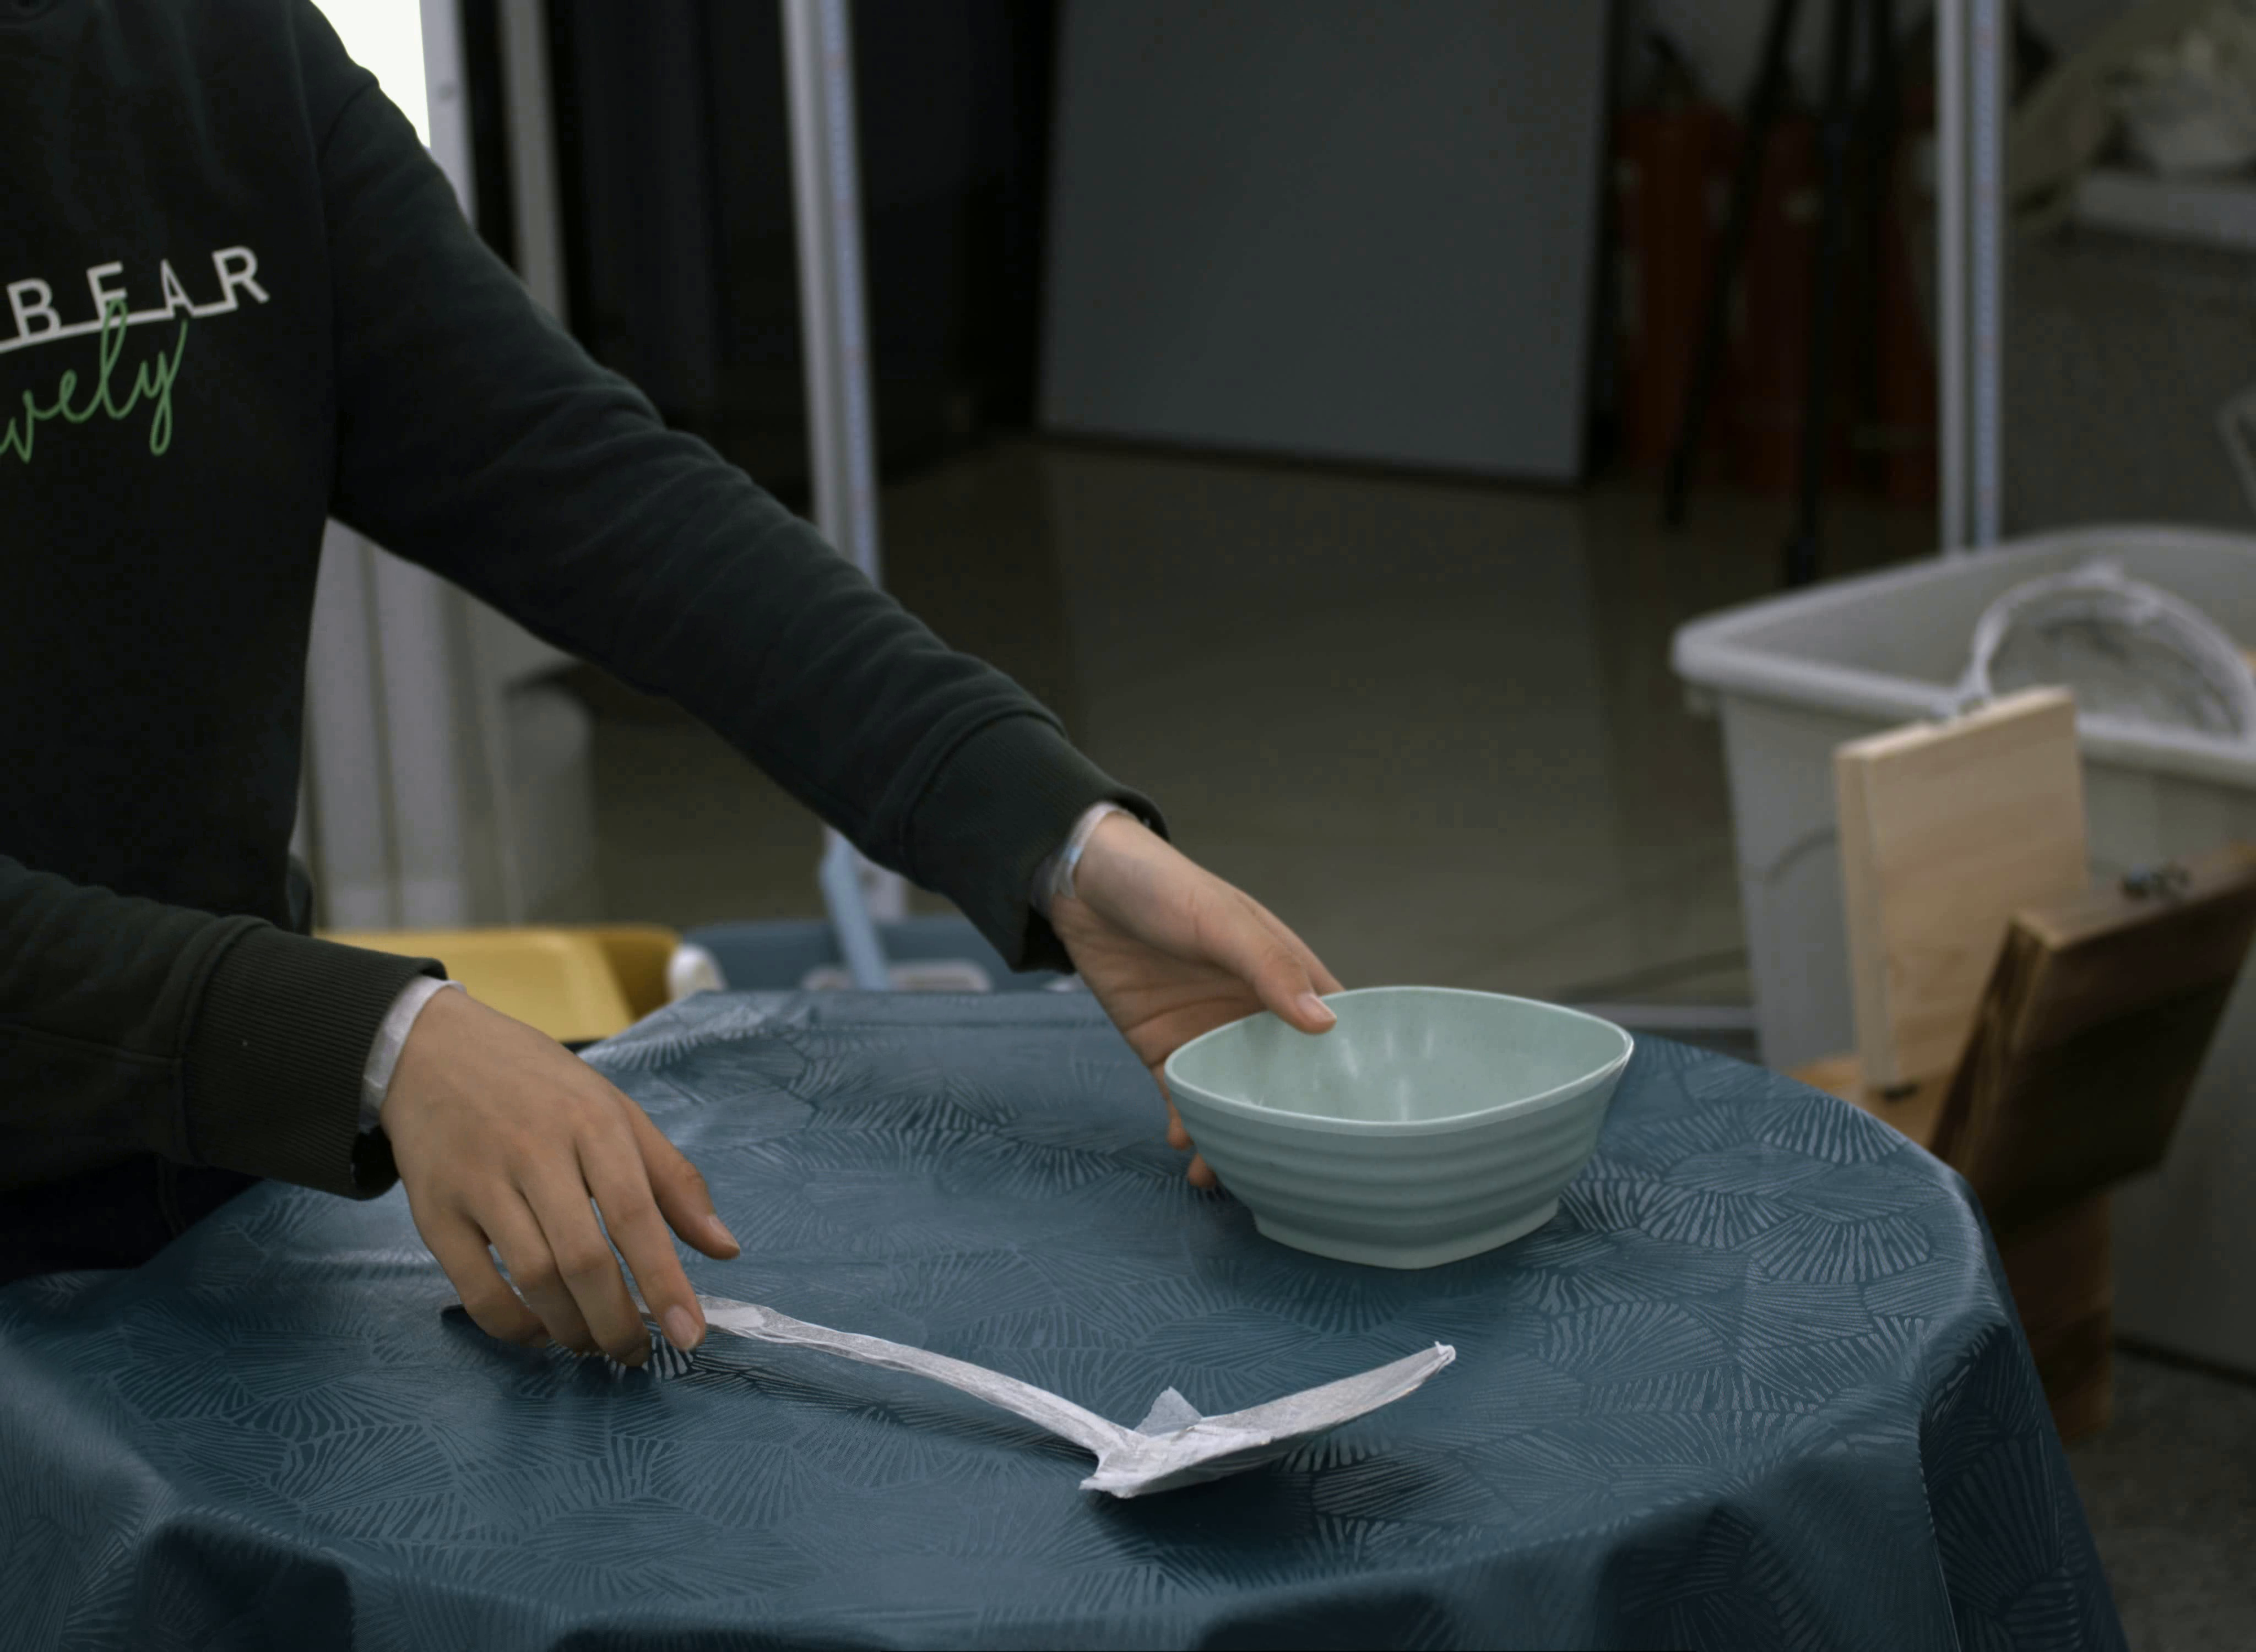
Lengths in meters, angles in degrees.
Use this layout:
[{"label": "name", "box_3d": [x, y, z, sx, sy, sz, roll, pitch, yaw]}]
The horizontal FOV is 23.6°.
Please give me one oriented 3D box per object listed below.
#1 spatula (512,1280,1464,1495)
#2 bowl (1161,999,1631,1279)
[{"label": "spatula", "box_3d": [-0.062, 0.152, 1.582, 0.368, 0.045, 0.097, 8, 20, 40]}, {"label": "bowl", "box_3d": [0.086, 0.102, 1.714, 0.149, 0.059, 0.151, -3, 13, 0]}]
